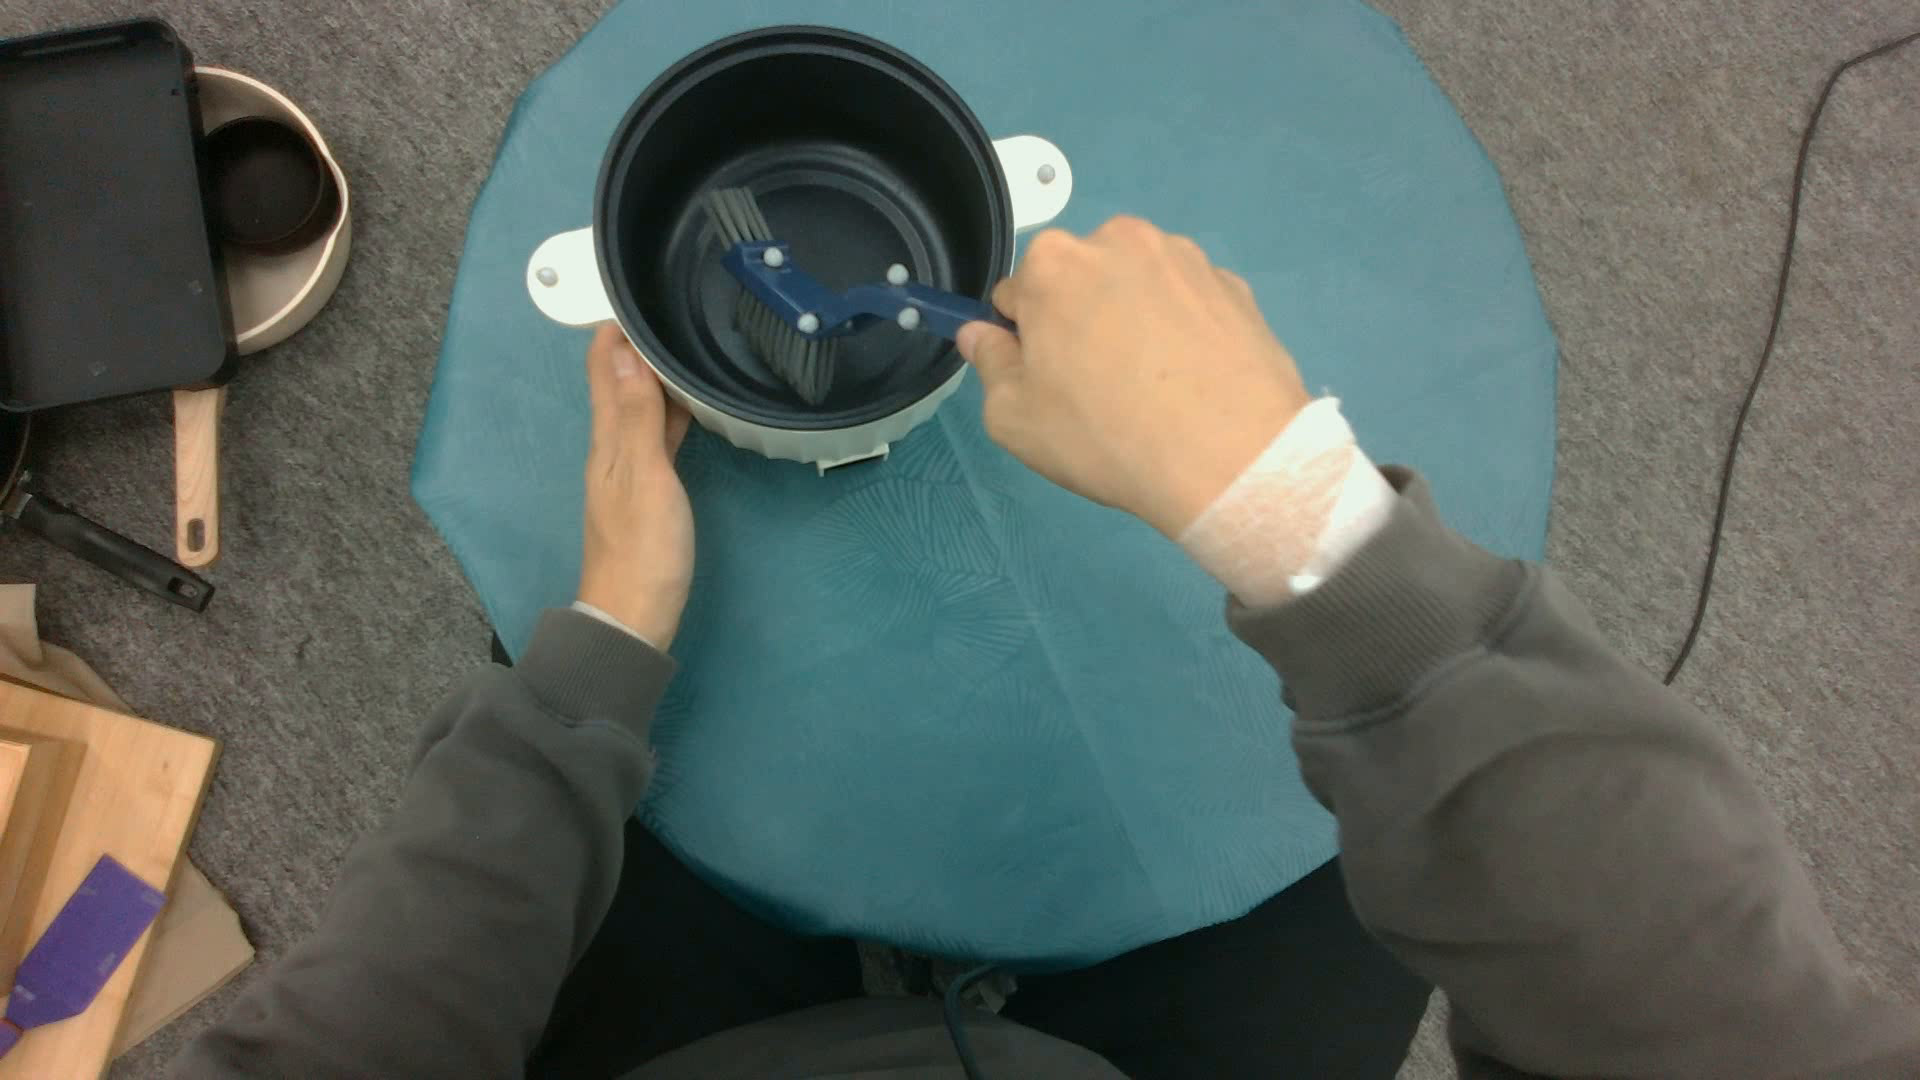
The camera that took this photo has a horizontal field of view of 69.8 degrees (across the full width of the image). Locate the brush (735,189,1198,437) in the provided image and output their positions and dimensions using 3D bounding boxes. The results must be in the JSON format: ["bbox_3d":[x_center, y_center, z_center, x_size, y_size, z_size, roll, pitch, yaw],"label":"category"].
[{"bbox_3d":[-0.016,-0.094,0.557,0.033,0.273,0.095,-10,107,-39],"label":"brush"}]

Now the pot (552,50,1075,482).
[{"bbox_3d":[-0.072,-0.130,0.676,0.240,0.142,0.190,-15,88,-9],"label":"pot"}]
